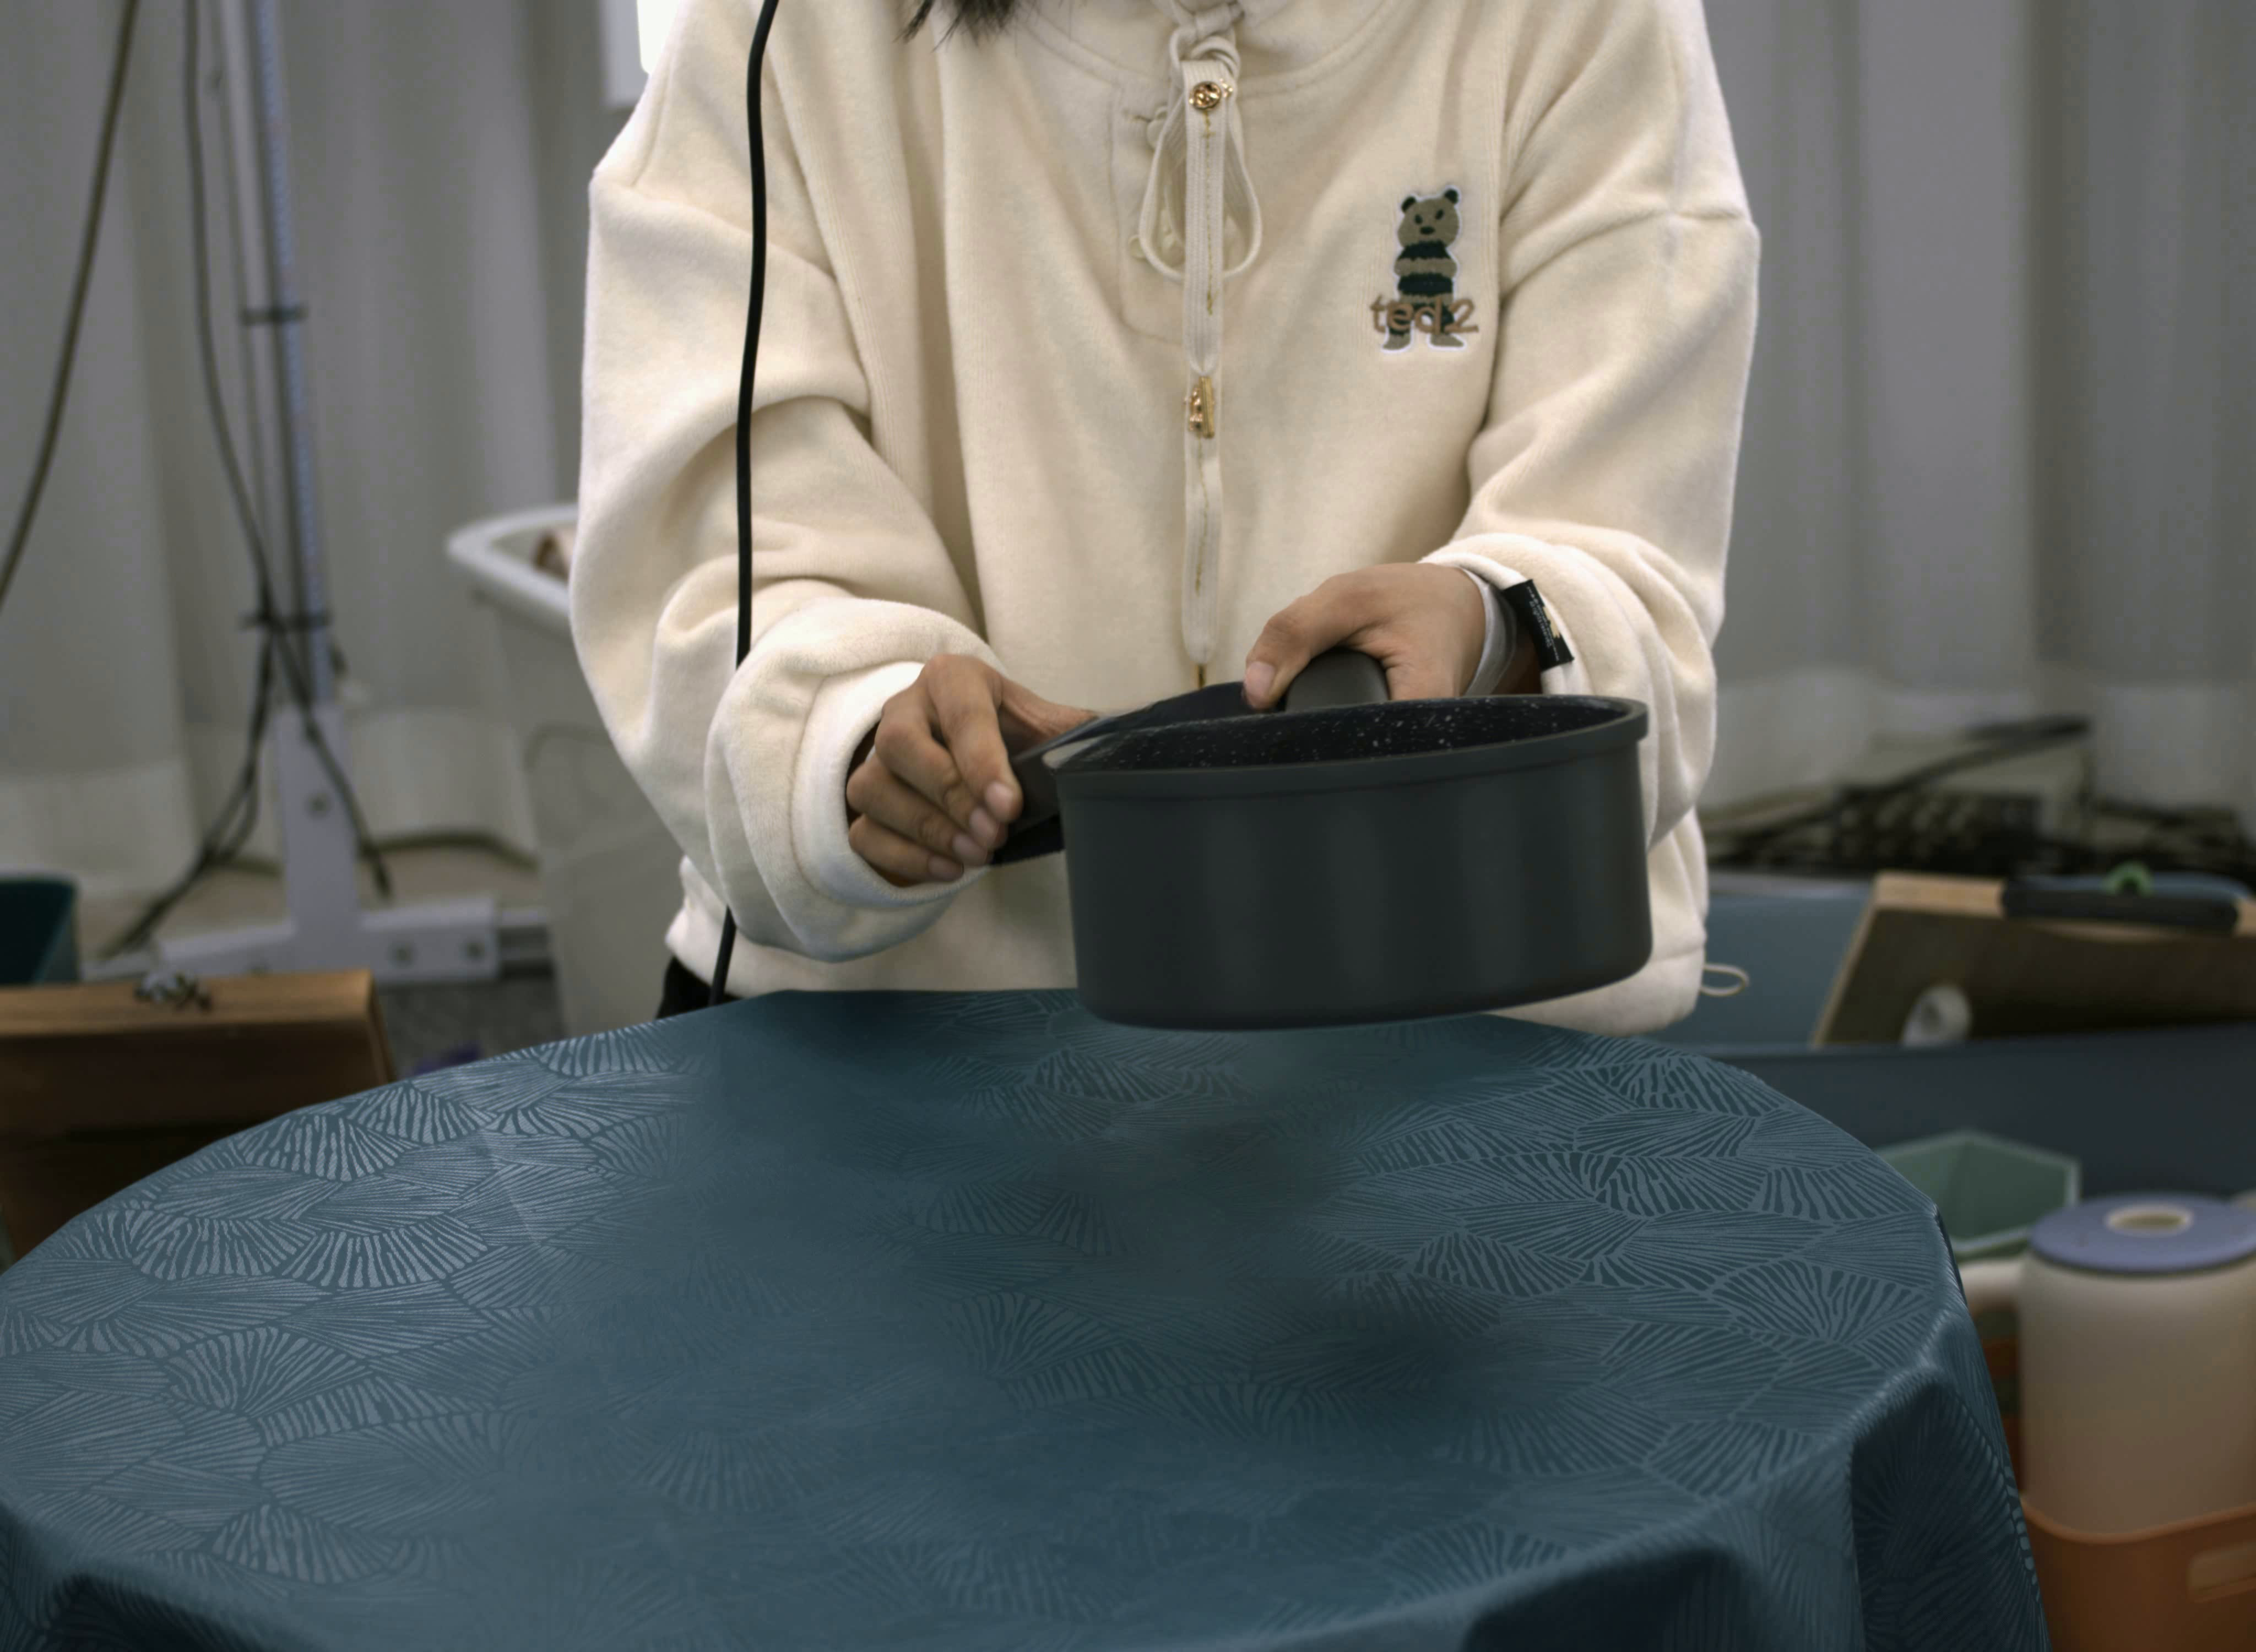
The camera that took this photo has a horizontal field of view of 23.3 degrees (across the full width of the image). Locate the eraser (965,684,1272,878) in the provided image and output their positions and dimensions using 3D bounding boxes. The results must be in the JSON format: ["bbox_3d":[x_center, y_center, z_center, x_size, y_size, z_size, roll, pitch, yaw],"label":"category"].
[{"bbox_3d":[-0.003,-0.013,1.673,0.053,0.030,0.125,-12,-8,-24],"label":"eraser"}]

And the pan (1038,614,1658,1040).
[{"bbox_3d":[0.068,-0.003,1.619,0.171,0.086,0.329,-5,8,5],"label":"pan"}]
